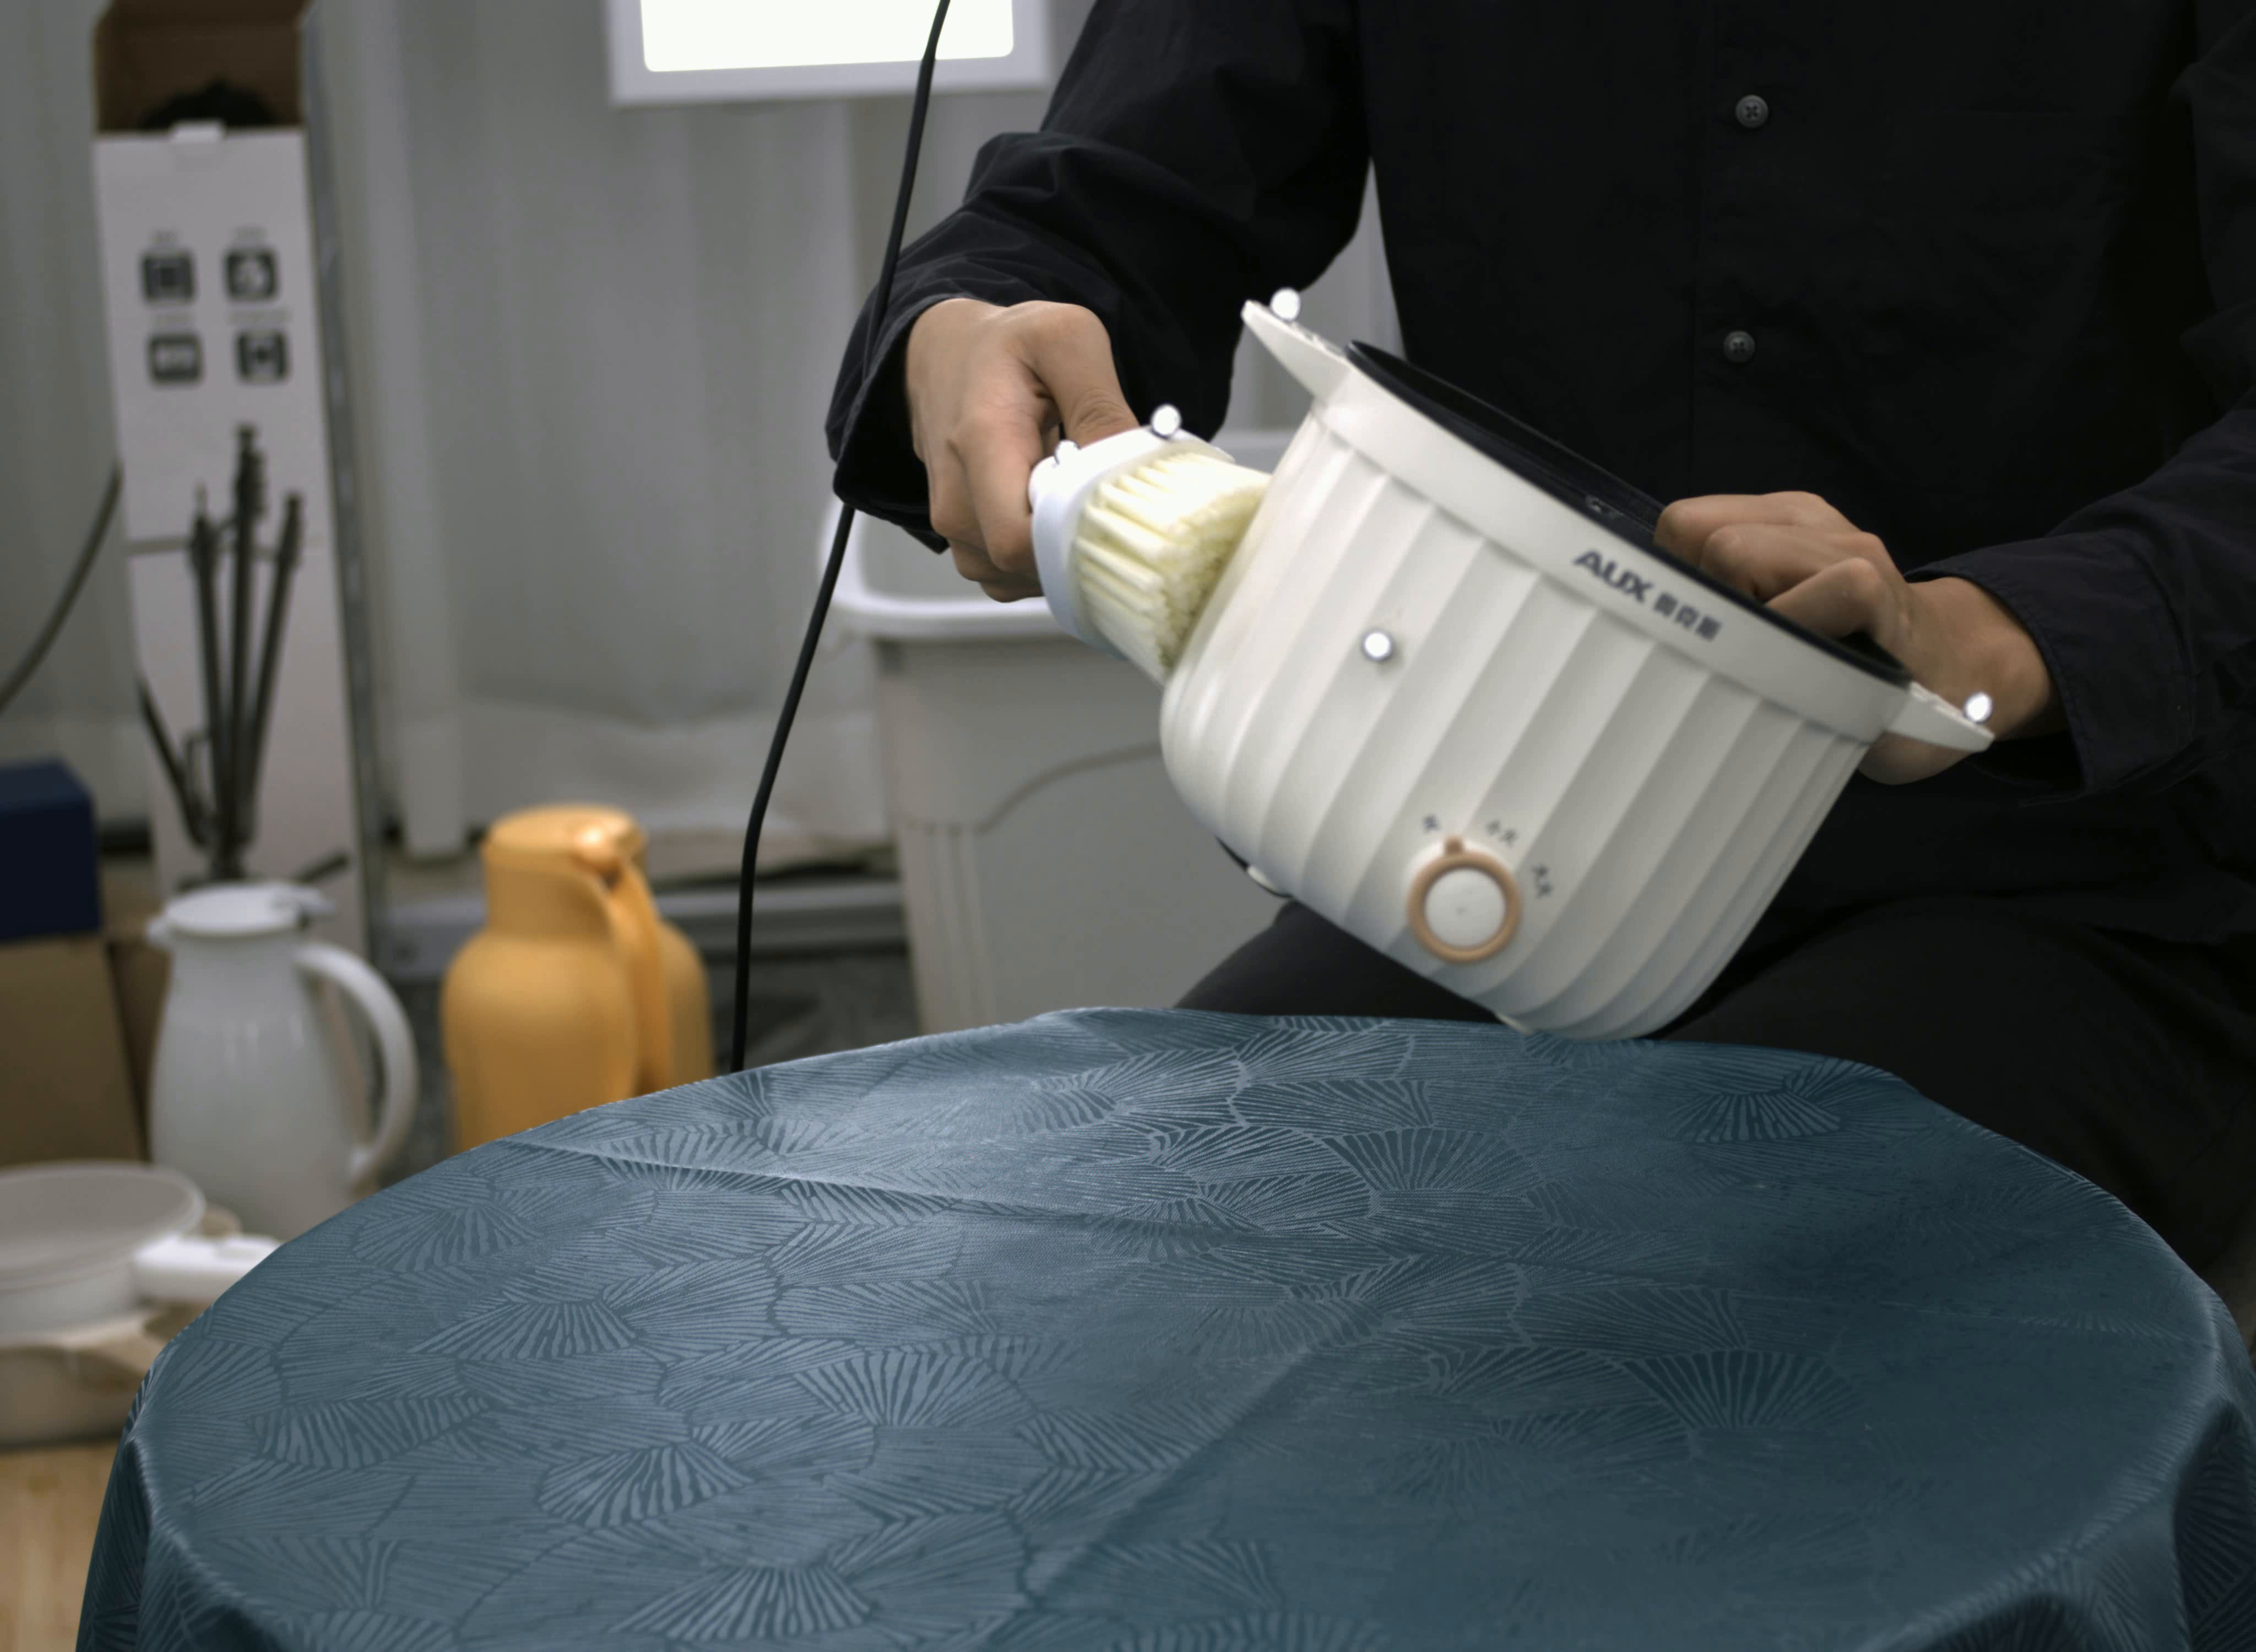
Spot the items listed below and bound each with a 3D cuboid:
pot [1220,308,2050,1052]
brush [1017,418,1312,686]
[{"bbox_3d":[0.122,-0.027,1.504,0.239,0.142,0.191,28,6,-7],"label":"pot"},{"bbox_3d":[0.016,-0.086,1.647,0.083,0.084,0.325,-25,2,2],"label":"brush"}]
